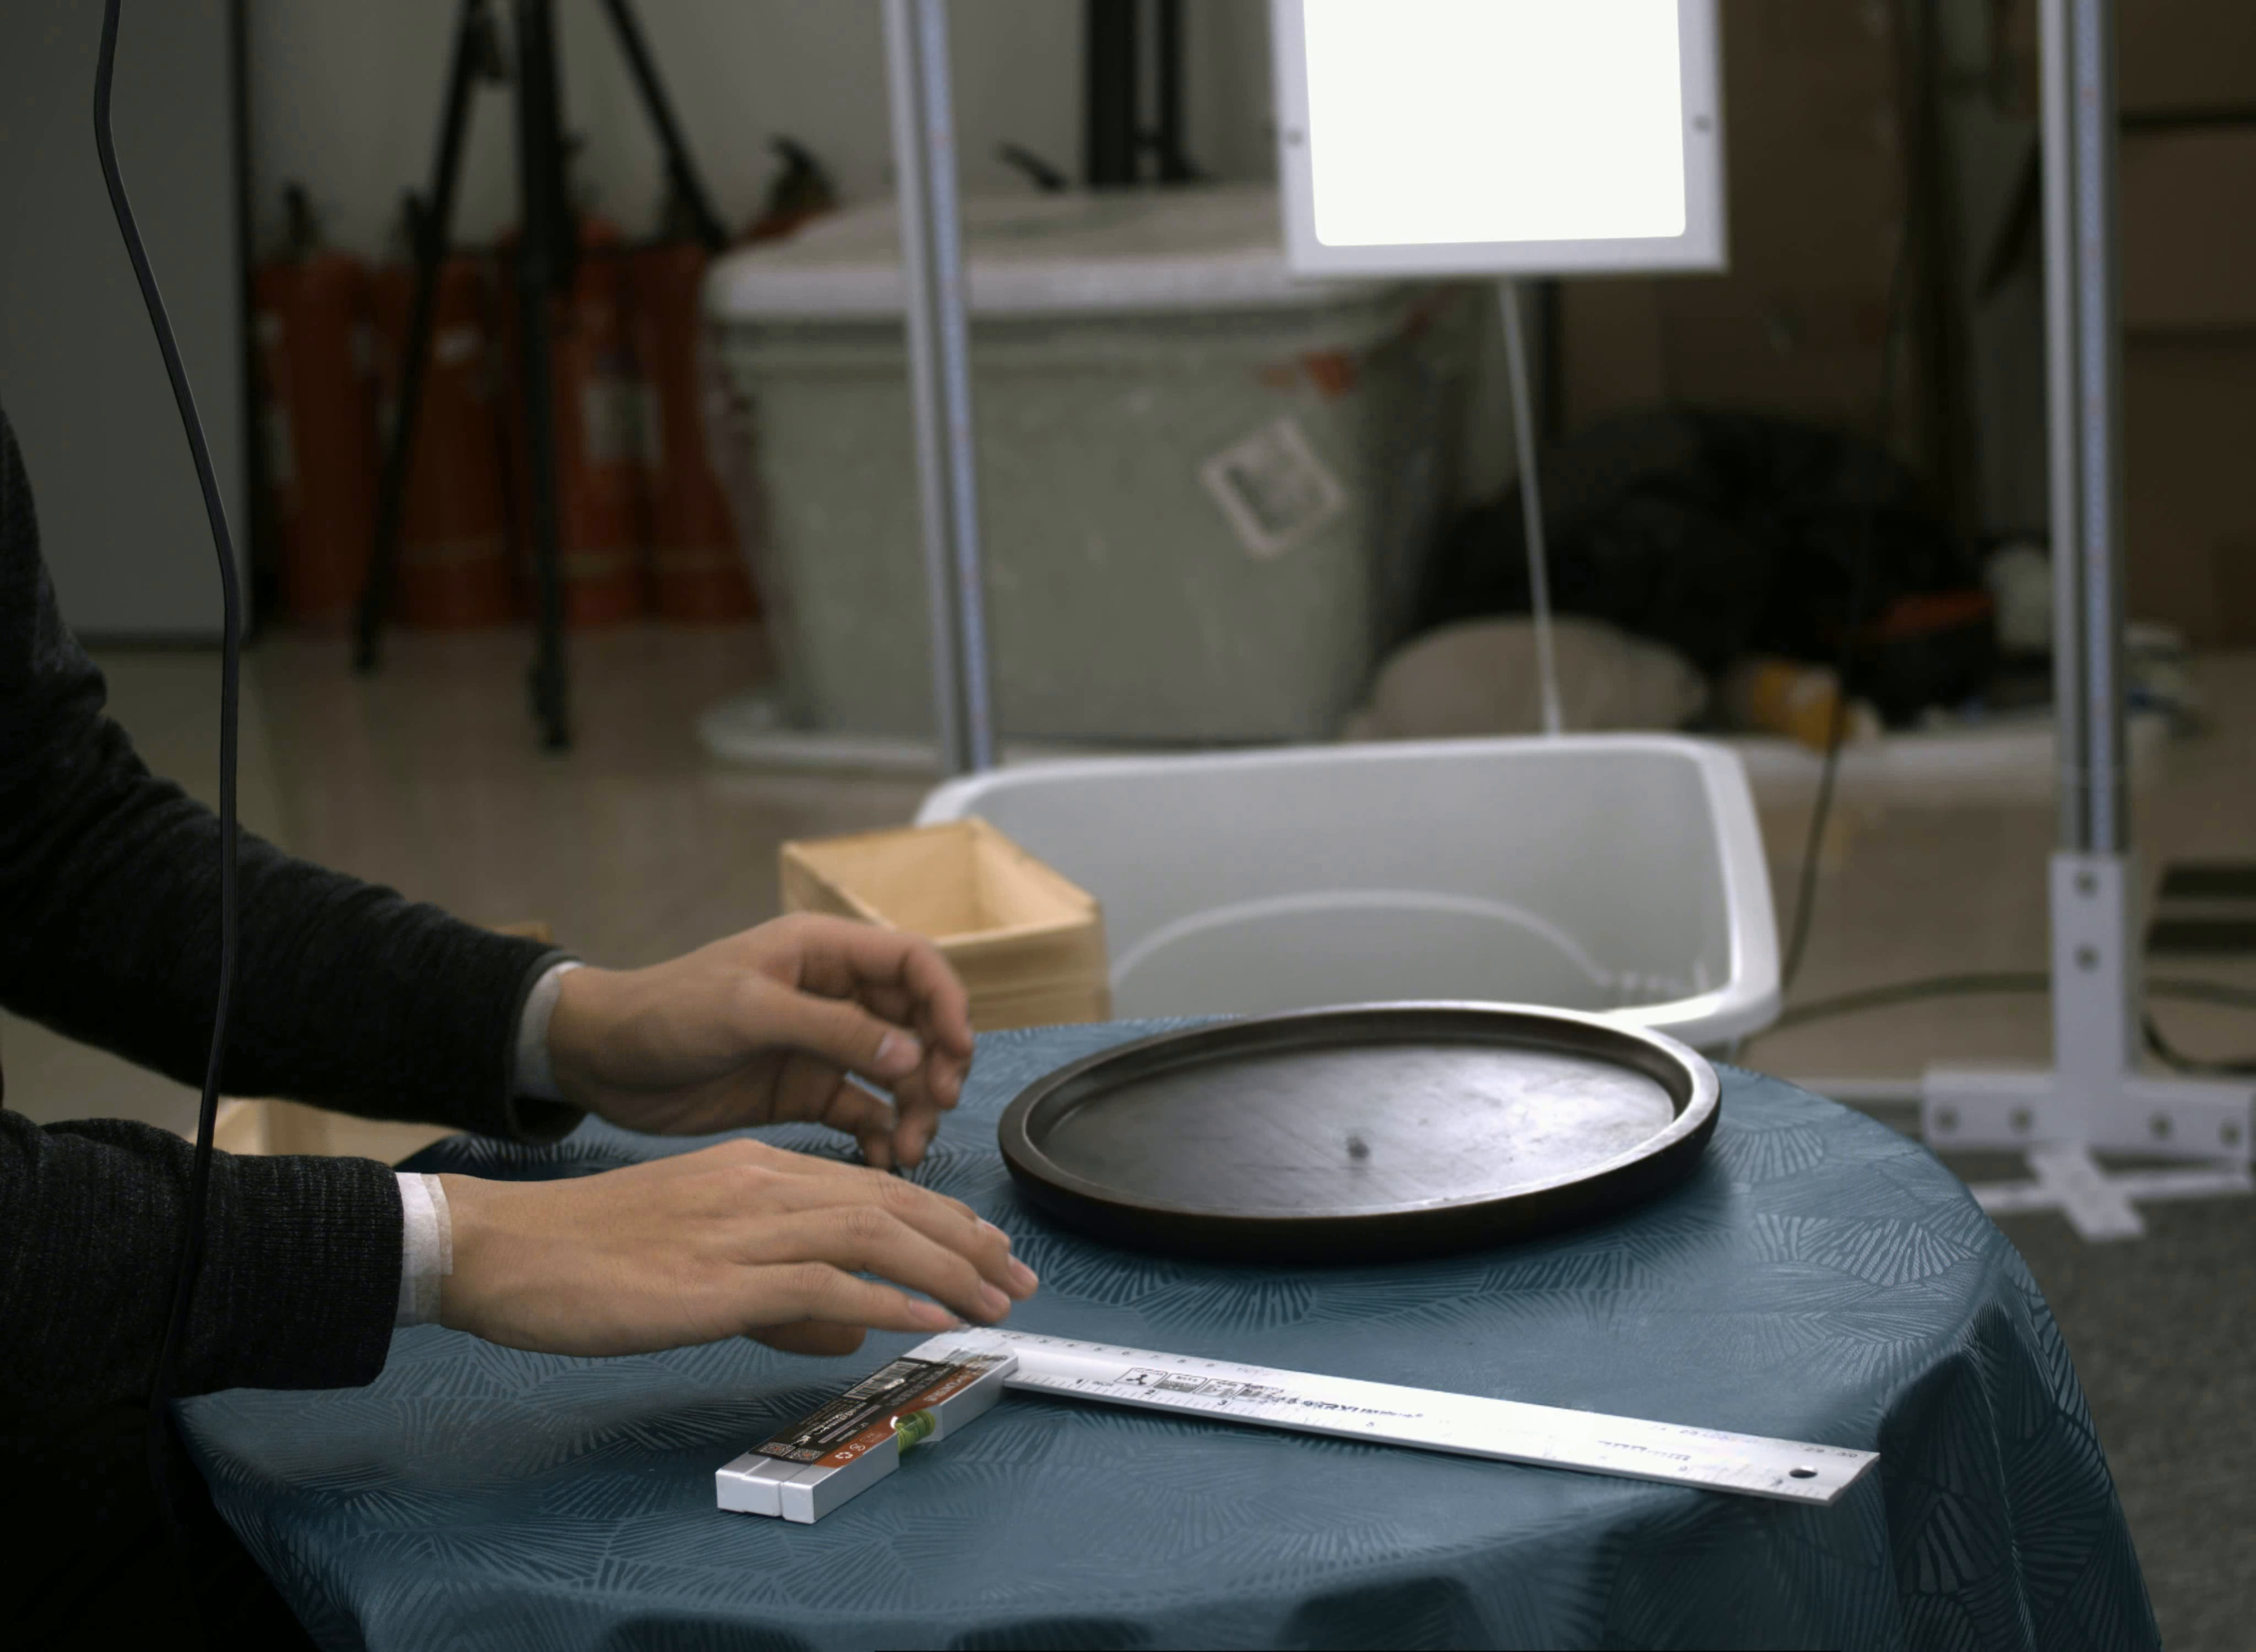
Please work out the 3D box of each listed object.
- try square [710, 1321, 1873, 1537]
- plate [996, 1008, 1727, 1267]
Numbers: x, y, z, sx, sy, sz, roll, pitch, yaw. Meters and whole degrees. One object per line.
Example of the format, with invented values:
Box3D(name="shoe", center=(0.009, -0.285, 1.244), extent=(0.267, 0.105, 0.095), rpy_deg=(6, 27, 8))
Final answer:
Box3D(name="try square", center=(0.047, 0.191, 1.612), extent=(0.319, 0.016, 0.149), rpy_deg=(5, 19, 31))
Box3D(name="plate", center=(0.081, 0.105, 1.906), extent=(0.254, 0.029, 0.254), rpy_deg=(-4, 15, 0))
